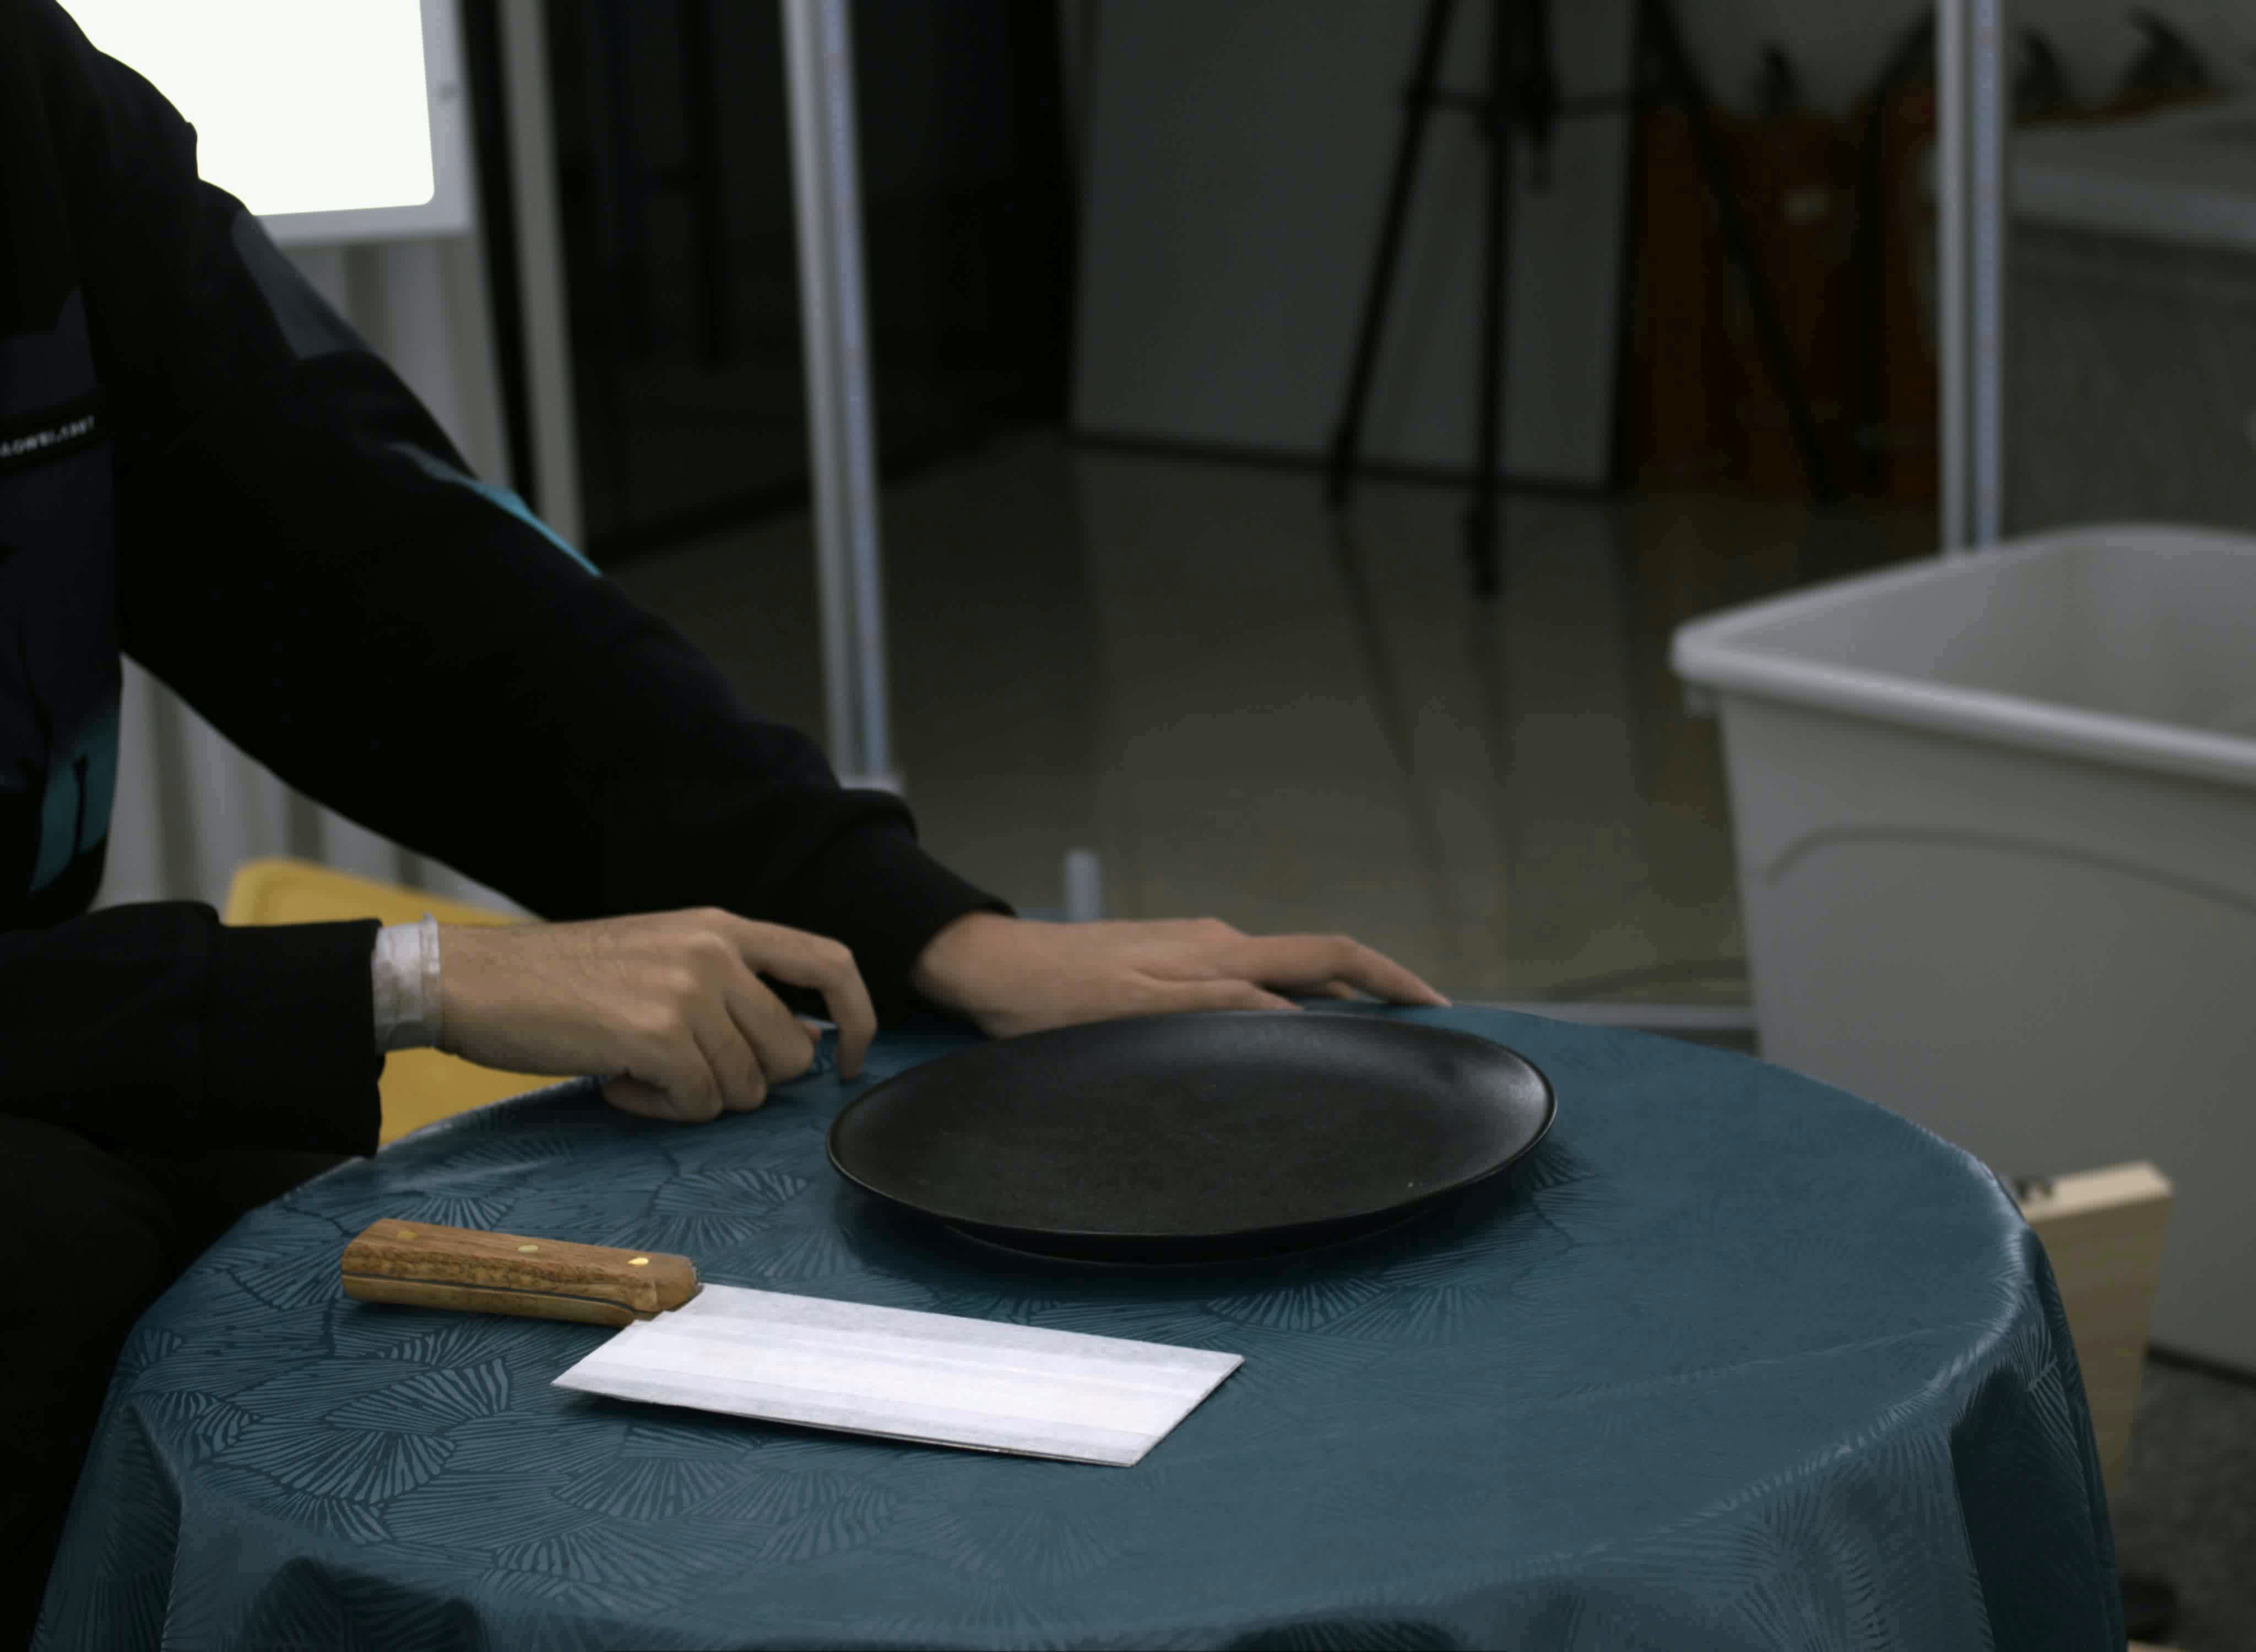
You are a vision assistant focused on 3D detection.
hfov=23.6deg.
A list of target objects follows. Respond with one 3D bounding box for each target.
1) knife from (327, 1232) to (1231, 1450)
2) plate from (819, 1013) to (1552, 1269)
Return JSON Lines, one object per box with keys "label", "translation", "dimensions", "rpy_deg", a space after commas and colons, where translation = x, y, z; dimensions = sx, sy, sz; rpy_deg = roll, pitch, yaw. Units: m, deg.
{"label": "knife", "translation": [-0.119, 0.158, 1.626], "dimensions": [0.306, 0.021, 0.092], "rpy_deg": [5, 18, 24]}
{"label": "plate", "translation": [0.020, 0.106, 1.776], "dimensions": [0.241, 0.024, 0.245], "rpy_deg": [-4, 14, 0]}
